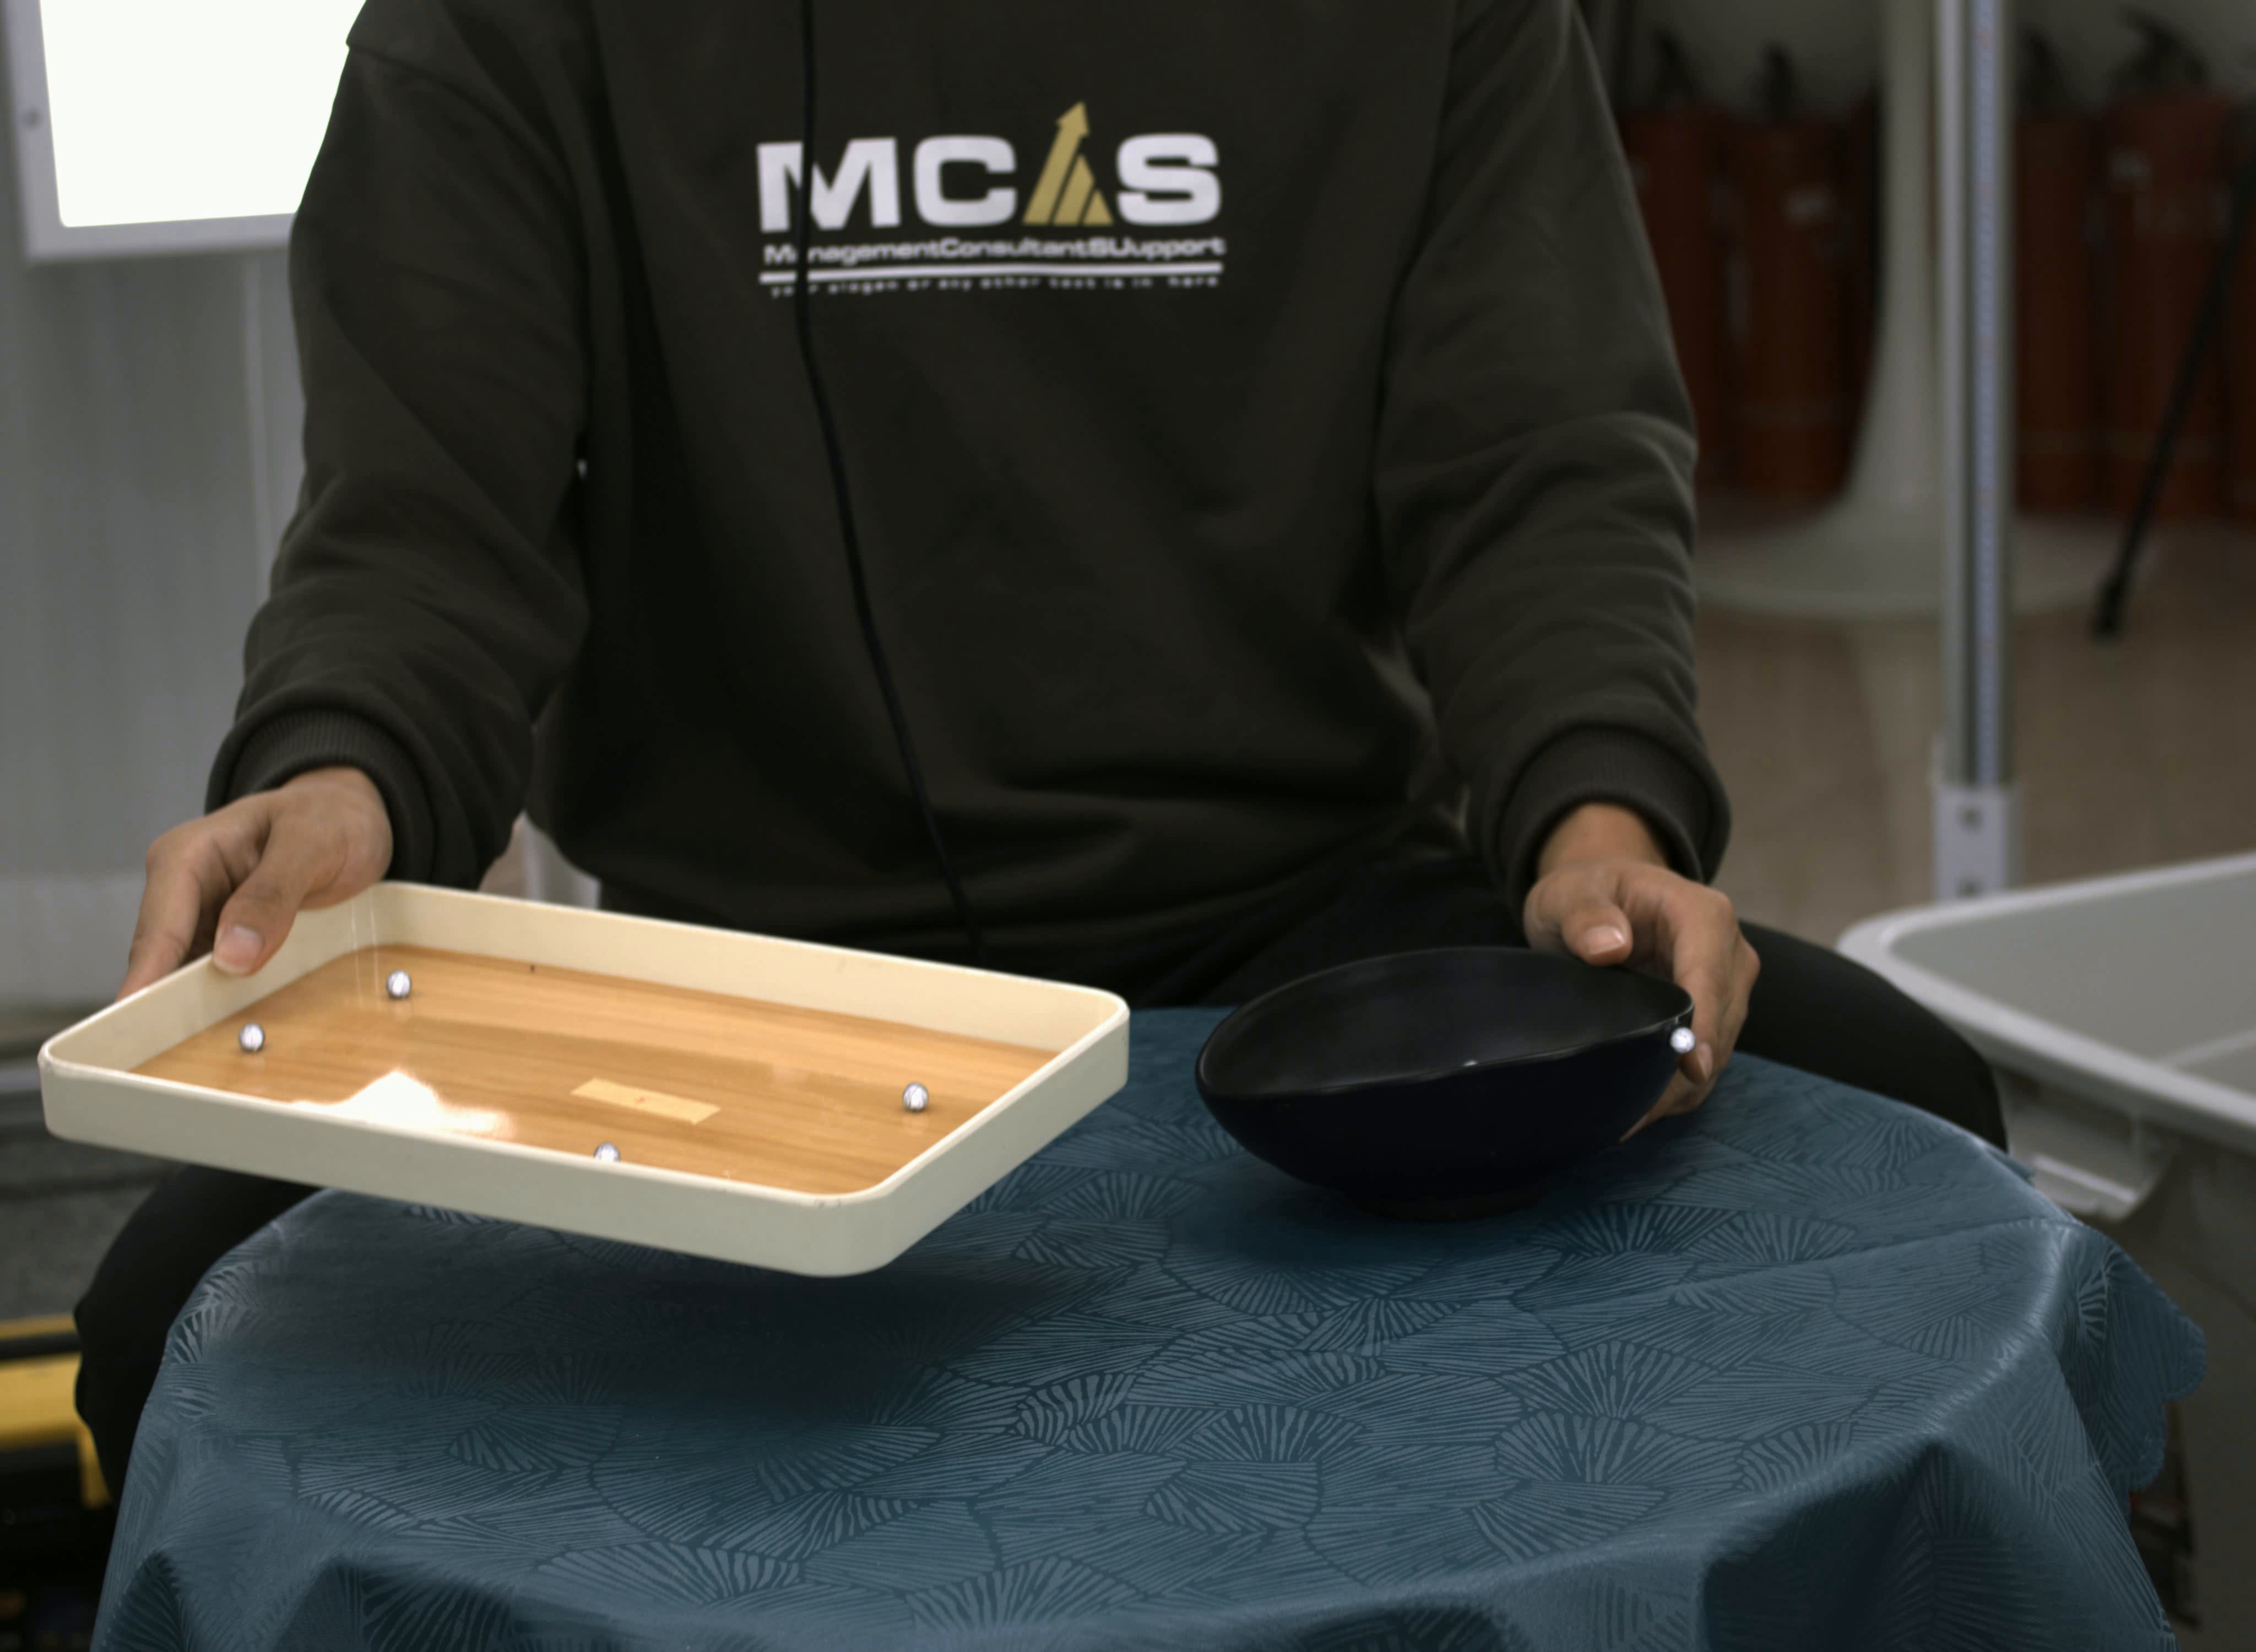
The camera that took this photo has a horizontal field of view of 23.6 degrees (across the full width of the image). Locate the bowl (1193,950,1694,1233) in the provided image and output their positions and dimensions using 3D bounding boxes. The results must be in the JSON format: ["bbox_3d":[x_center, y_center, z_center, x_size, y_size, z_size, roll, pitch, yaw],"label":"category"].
[{"bbox_3d":[0.105,0.091,1.745,0.167,0.067,0.138,-11,13,-20],"label":"bowl"}]

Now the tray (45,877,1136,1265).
[{"bbox_3d":[-0.165,0.072,1.677,0.301,0.028,0.189,8,20,27],"label":"tray"}]
